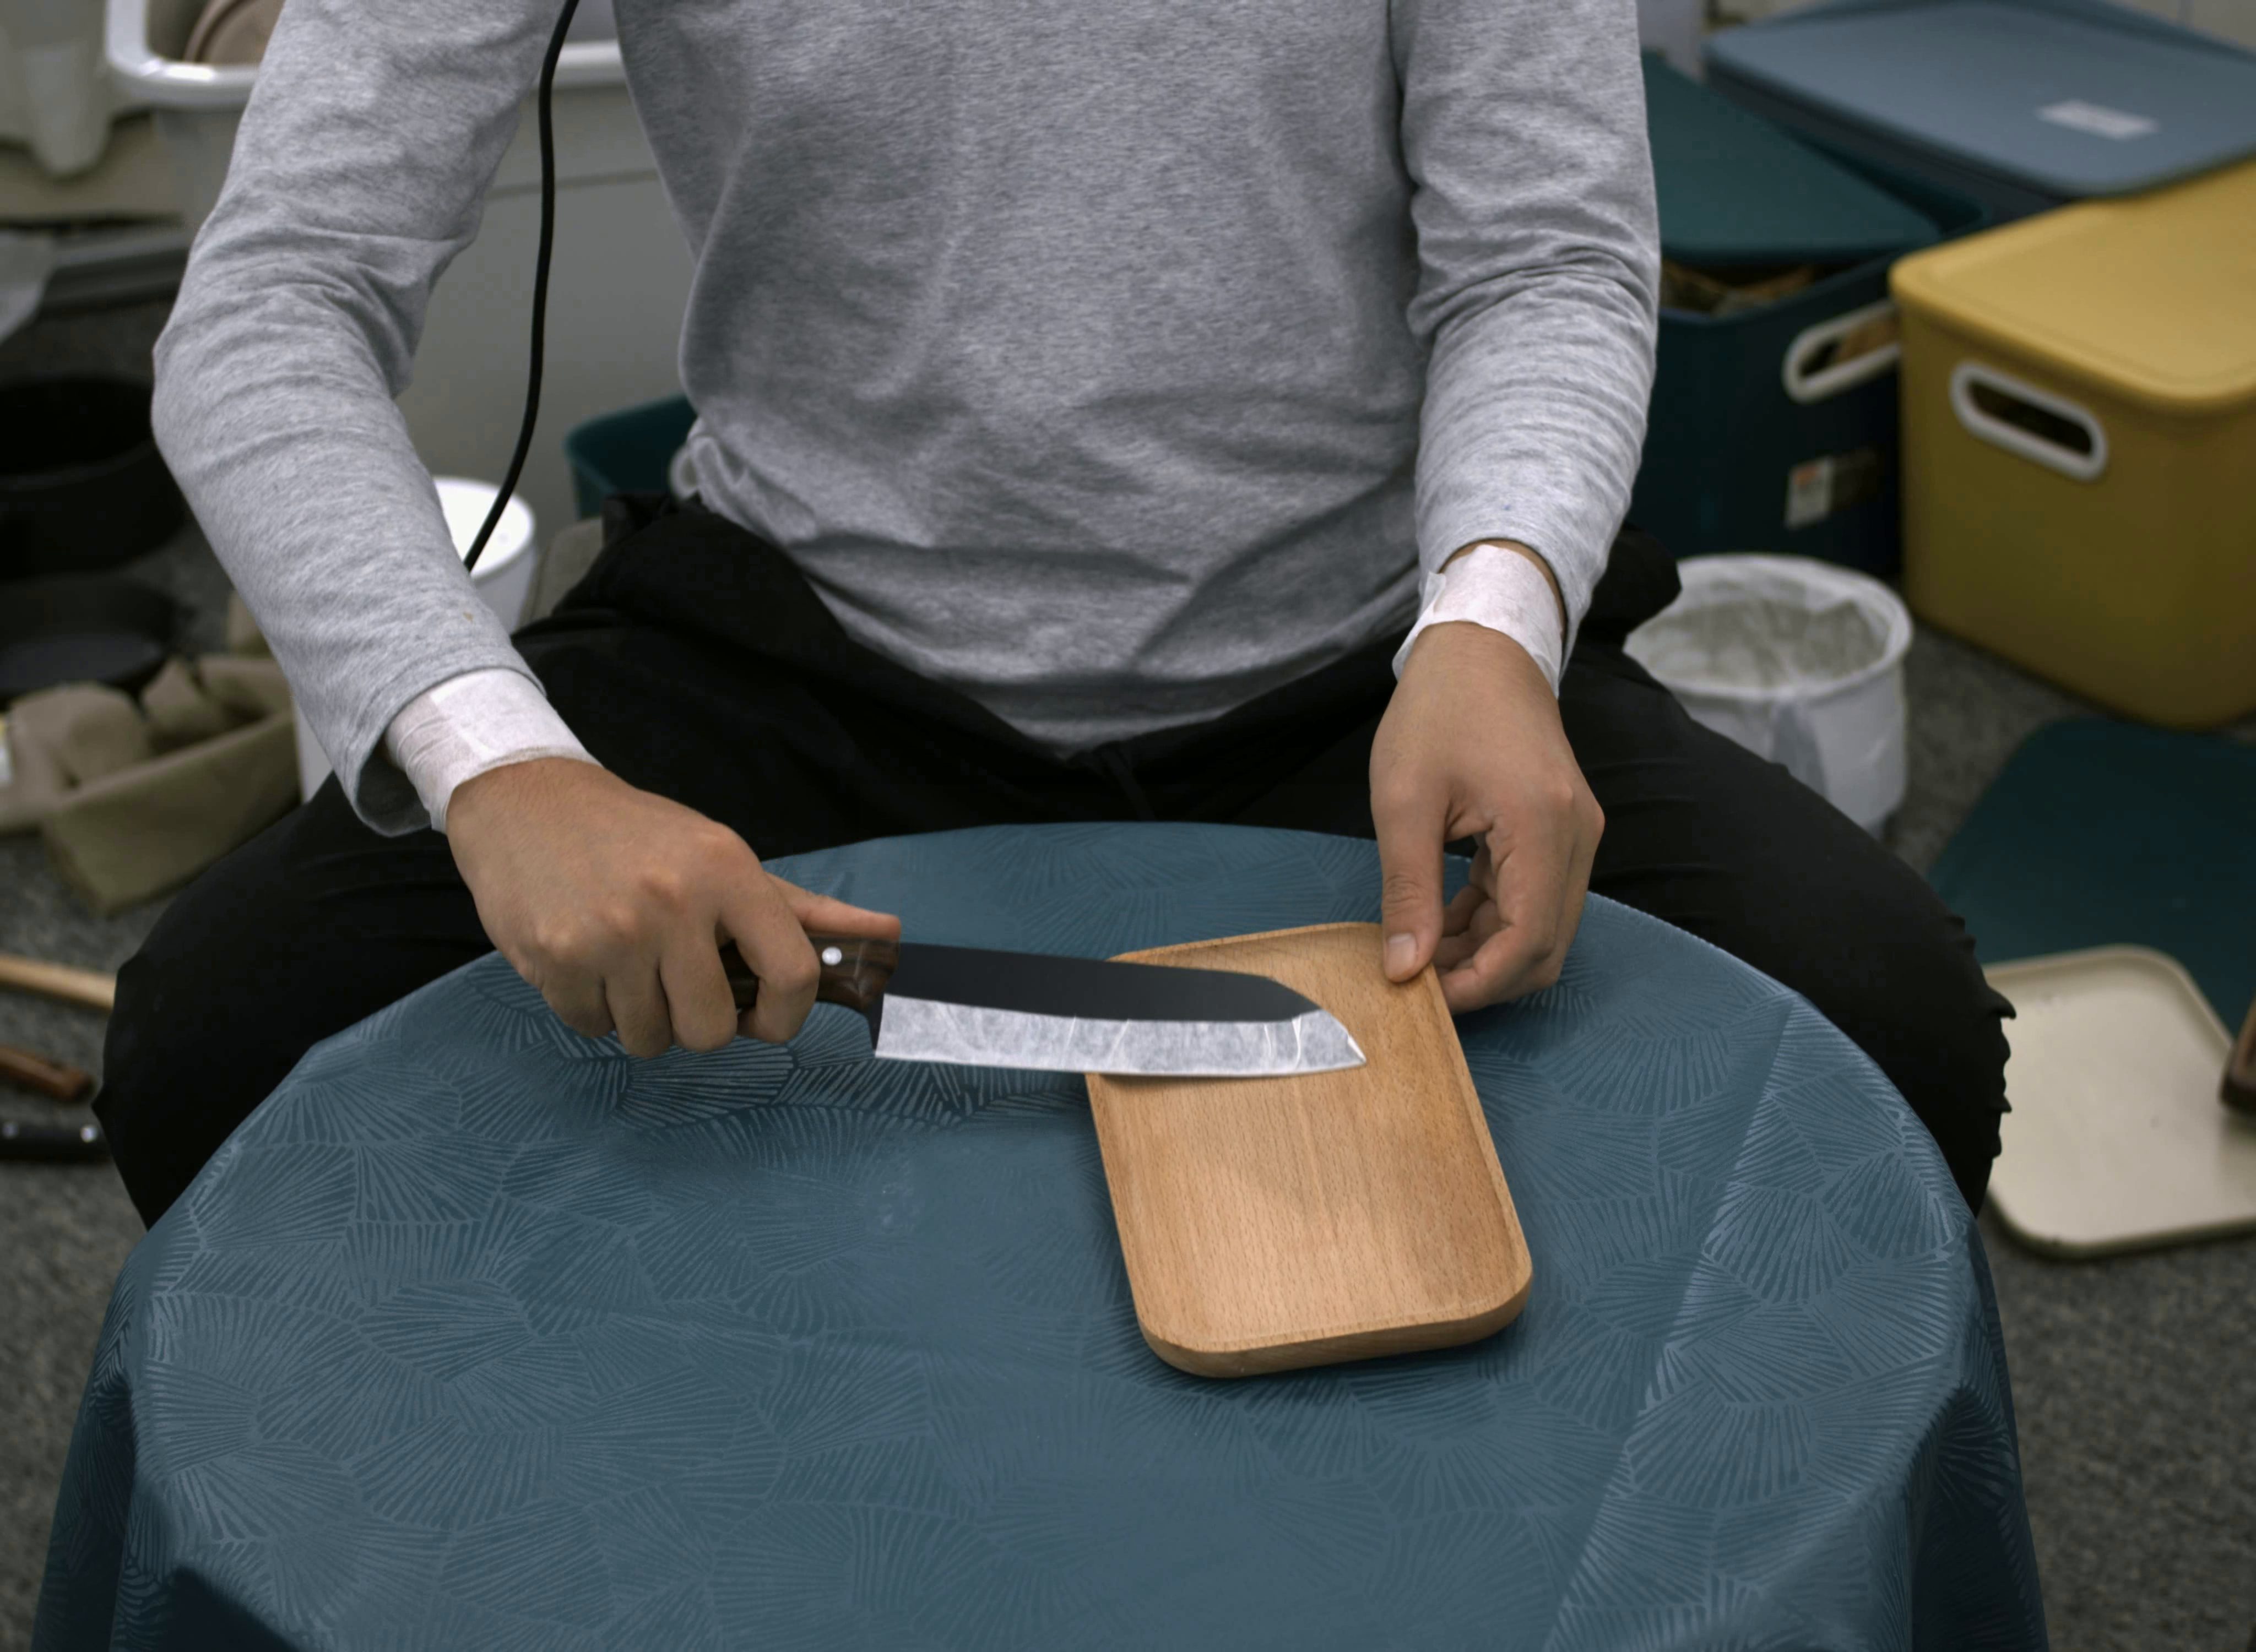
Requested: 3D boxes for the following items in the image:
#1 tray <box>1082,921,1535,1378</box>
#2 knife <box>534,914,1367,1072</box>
[{"bbox_3d":[0.055,0.104,1.863,0.130,0.022,0.254,-5,28,-4],"label":"tray"},{"bbox_3d":[-0.061,0.058,1.914,0.287,0.020,0.051,6,62,3],"label":"knife"}]
